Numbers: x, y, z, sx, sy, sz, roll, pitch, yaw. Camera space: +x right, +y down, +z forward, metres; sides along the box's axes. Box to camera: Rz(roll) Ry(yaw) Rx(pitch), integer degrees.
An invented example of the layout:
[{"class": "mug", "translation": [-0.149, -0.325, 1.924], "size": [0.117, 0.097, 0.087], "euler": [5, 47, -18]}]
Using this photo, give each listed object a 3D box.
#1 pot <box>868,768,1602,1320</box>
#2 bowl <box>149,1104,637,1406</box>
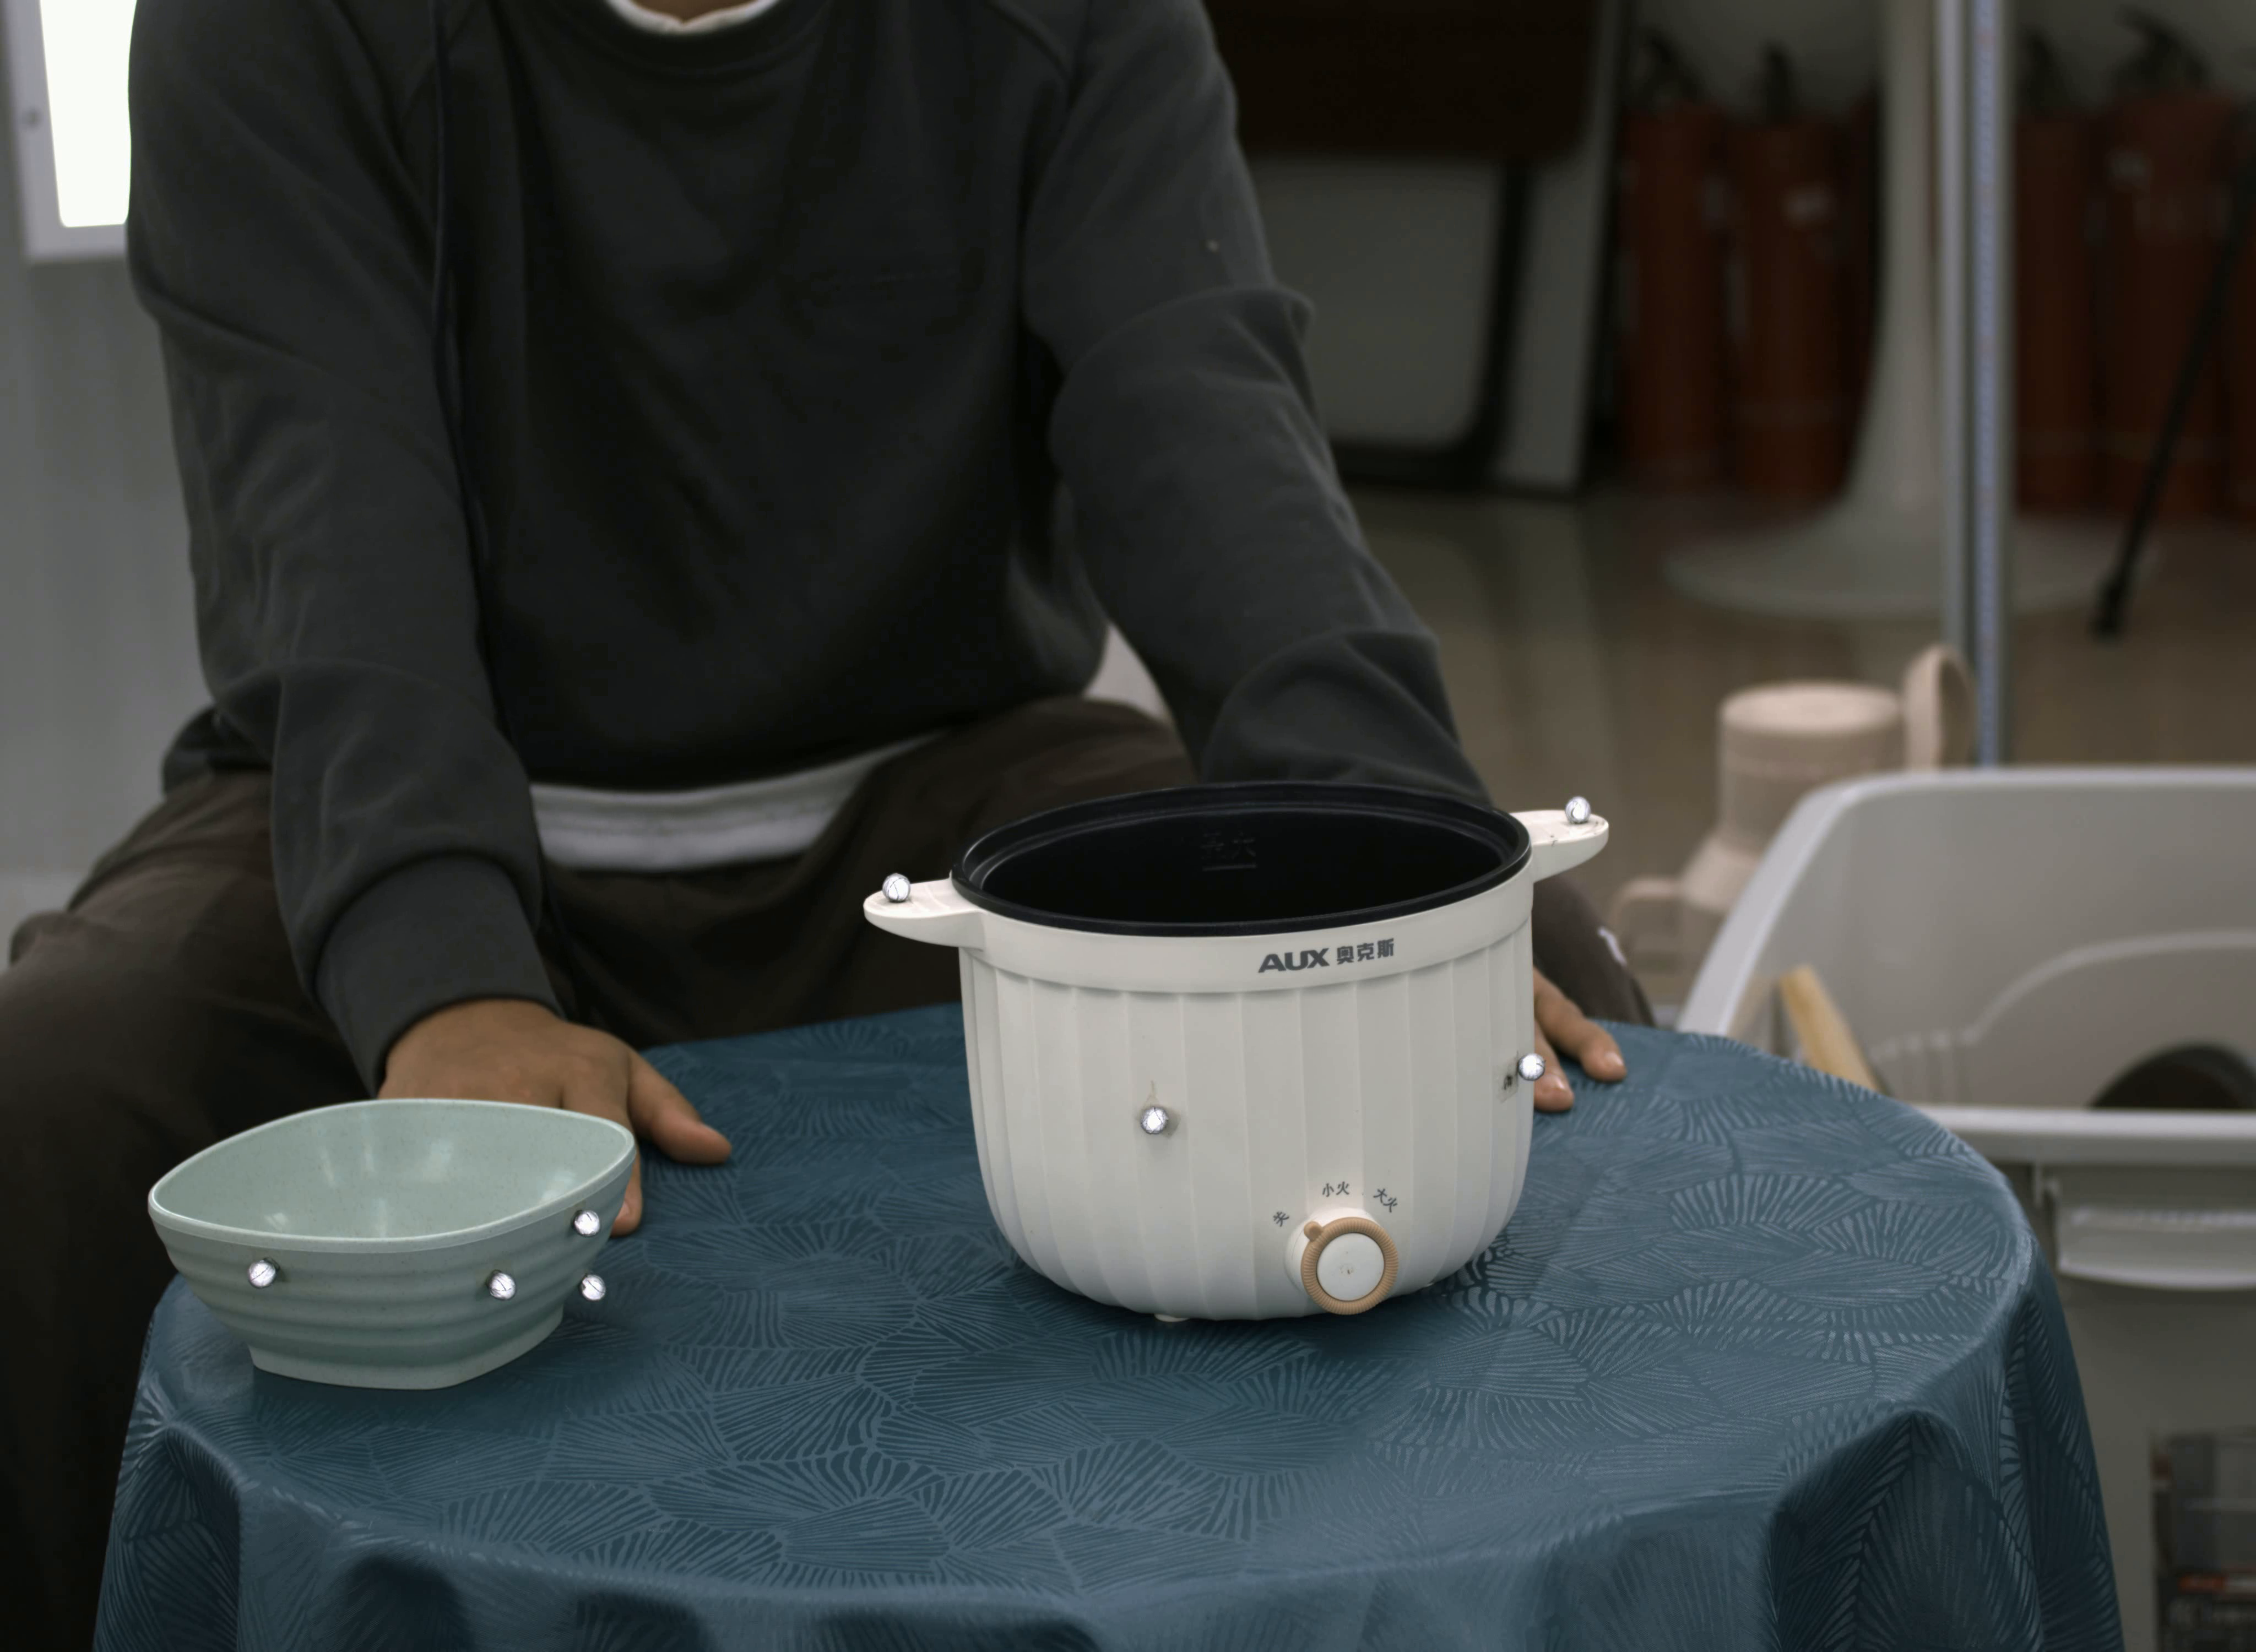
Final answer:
[{"class": "pot", "translation": [0.042, 0.070, 1.675], "size": [0.236, 0.144, 0.192], "euler": [-9, 11, -14]}, {"class": "bowl", "translation": [-0.223, 0.135, 1.666], "size": [0.149, 0.059, 0.152], "euler": [-2, 14, 0]}]
